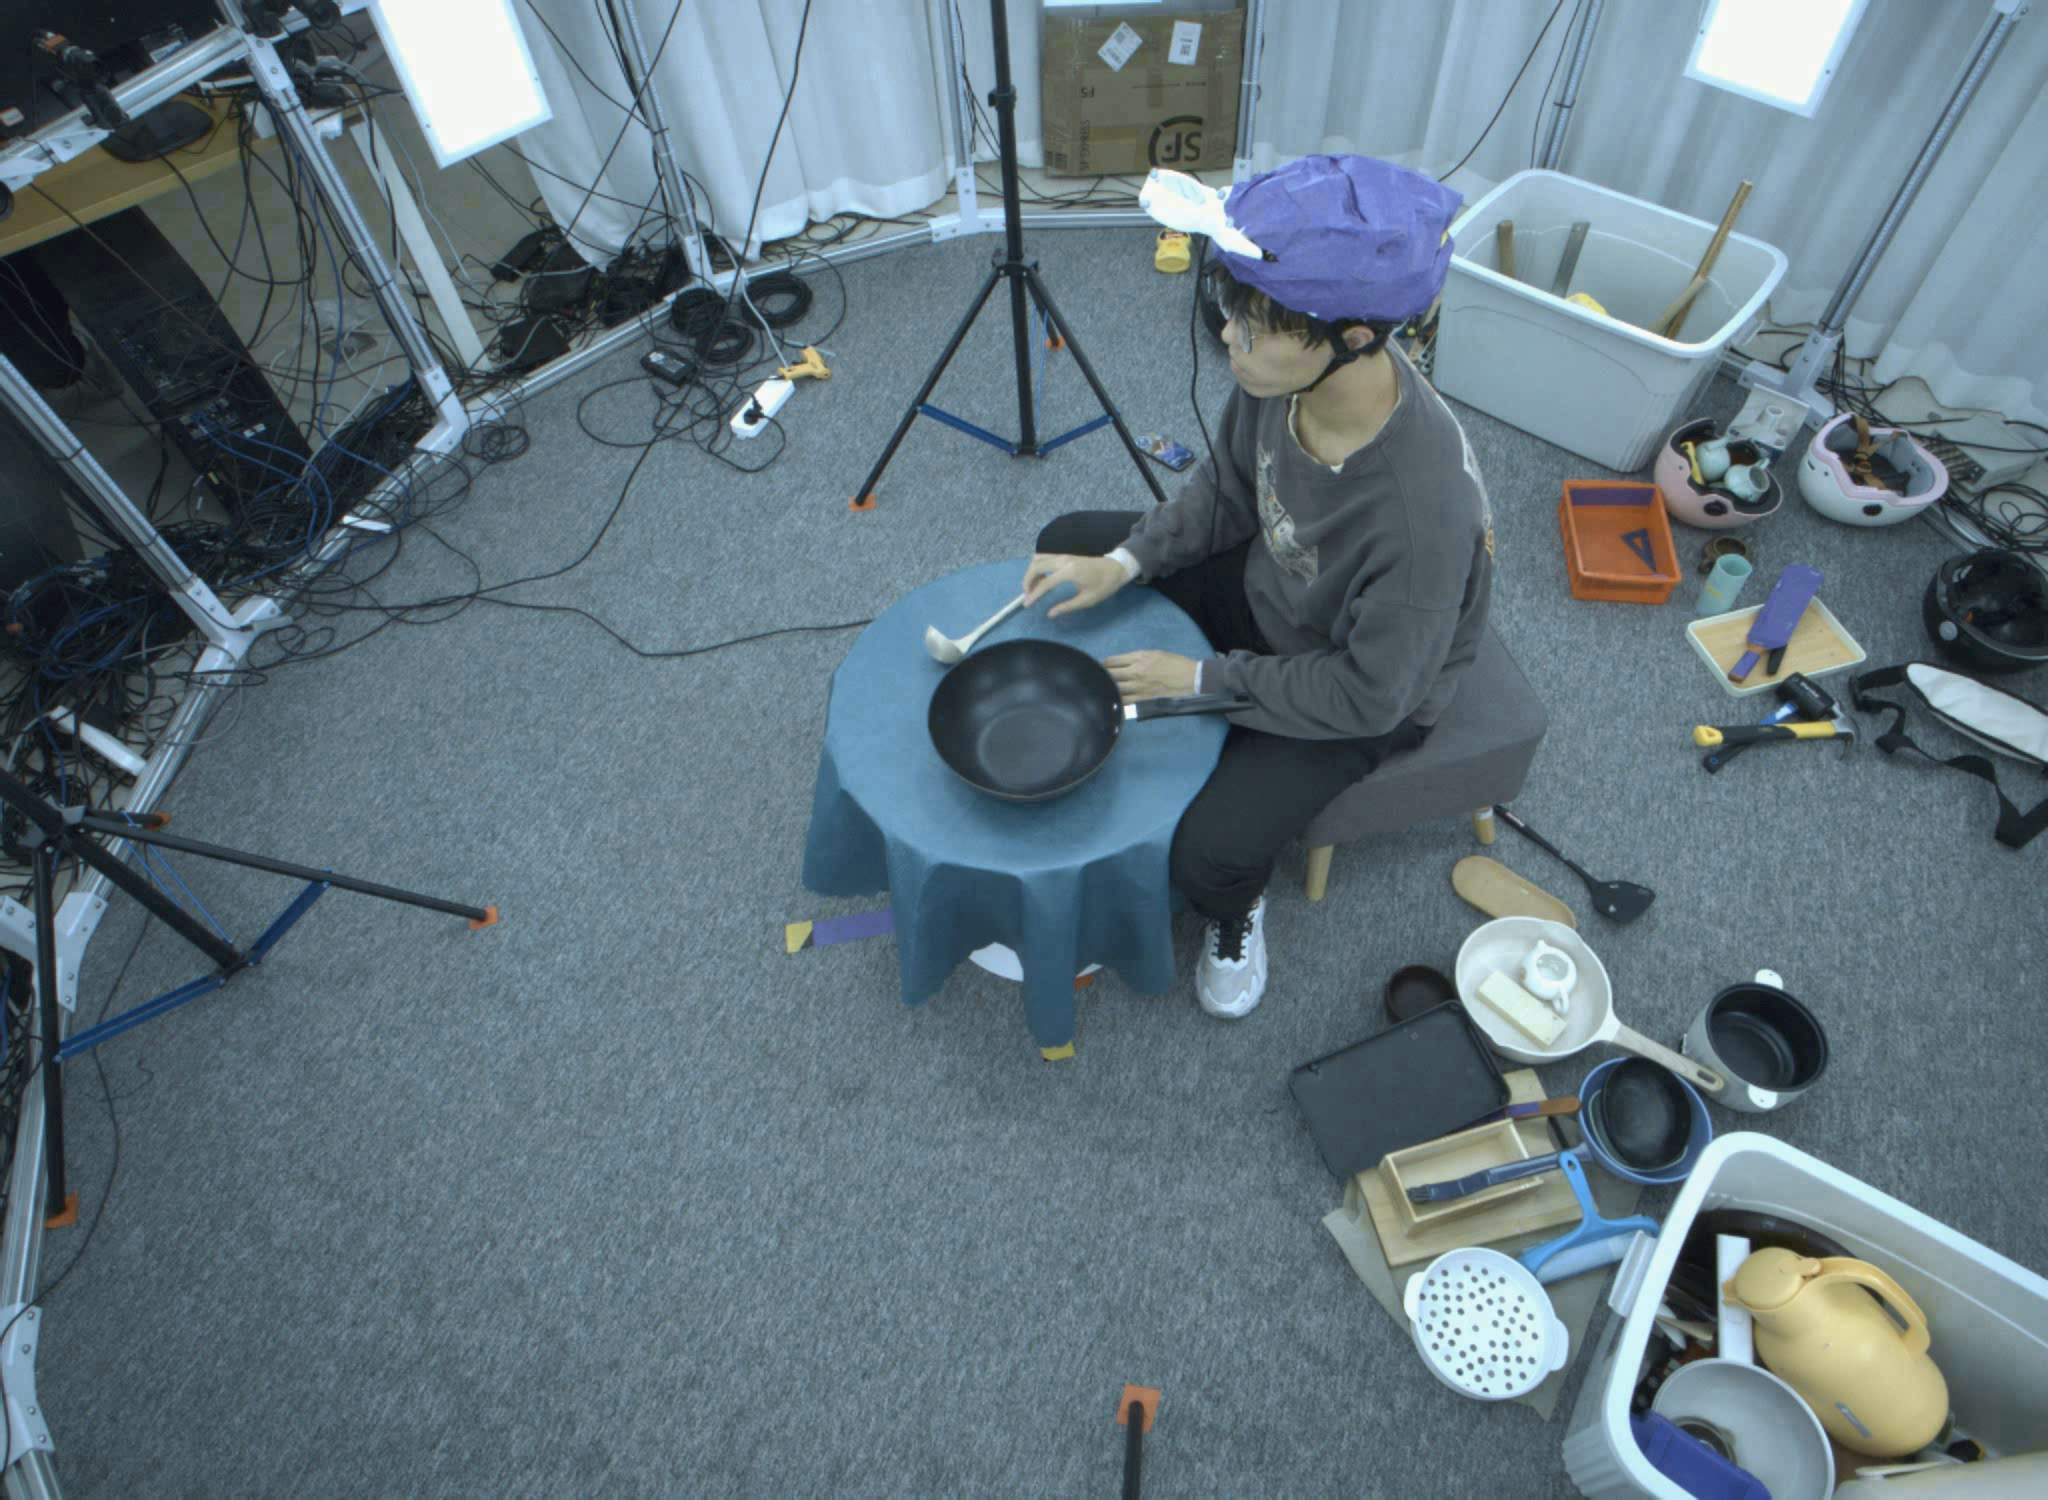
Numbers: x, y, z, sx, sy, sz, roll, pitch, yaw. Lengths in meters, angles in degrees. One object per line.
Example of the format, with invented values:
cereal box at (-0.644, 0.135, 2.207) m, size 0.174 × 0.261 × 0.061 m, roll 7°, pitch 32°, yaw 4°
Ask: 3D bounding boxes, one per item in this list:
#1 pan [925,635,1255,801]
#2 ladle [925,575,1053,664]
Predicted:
pan at (0.094, -0.037, 1.757) m, size 0.464 × 0.088 × 0.285 m, roll -2°, pitch 54°, yaw -1°
ladle at (-0.049, -0.225, 1.904) m, size 0.070 × 0.074 × 0.256 m, roll 34°, pitch 63°, yaw 31°
